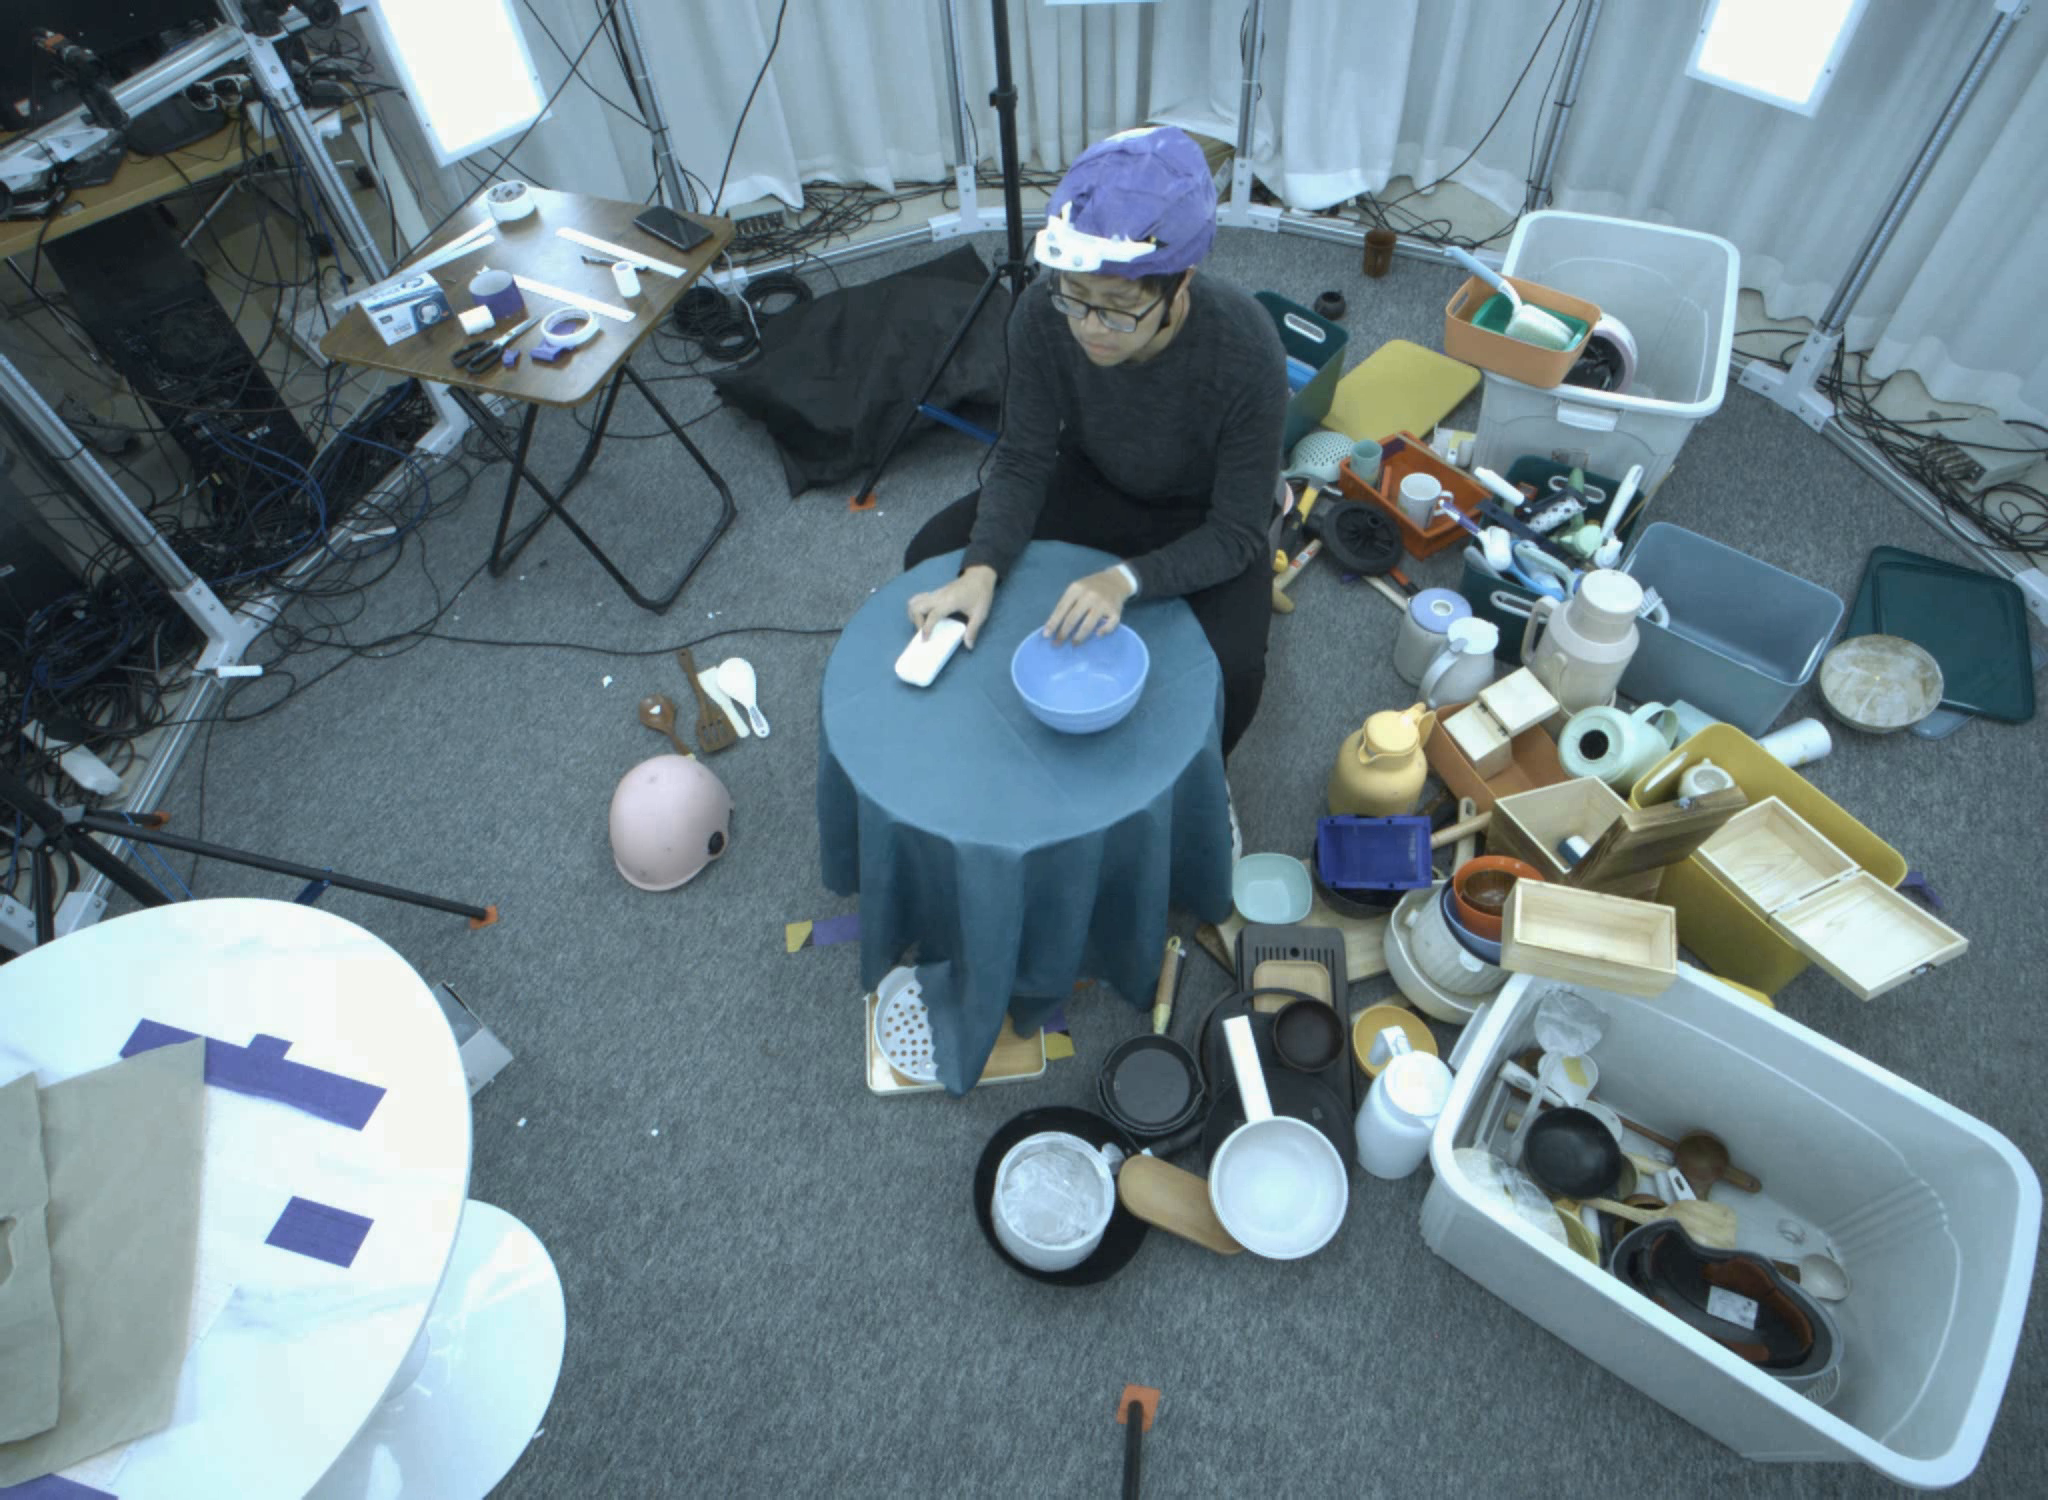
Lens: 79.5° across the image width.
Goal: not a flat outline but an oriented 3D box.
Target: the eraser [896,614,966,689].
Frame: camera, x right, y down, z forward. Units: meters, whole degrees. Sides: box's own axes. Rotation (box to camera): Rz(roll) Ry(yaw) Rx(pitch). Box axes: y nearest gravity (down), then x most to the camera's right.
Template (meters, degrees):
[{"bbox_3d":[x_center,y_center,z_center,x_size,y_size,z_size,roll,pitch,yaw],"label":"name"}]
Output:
[{"bbox_3d":[-0.141,-0.153,1.881,0.062,0.035,0.131,23,60,17],"label":"eraser"}]

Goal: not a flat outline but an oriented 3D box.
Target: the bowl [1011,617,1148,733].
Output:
[{"bbox_3d":[0.084,-0.094,1.788,0.196,0.097,0.194,-4,49,5],"label":"bowl"}]
